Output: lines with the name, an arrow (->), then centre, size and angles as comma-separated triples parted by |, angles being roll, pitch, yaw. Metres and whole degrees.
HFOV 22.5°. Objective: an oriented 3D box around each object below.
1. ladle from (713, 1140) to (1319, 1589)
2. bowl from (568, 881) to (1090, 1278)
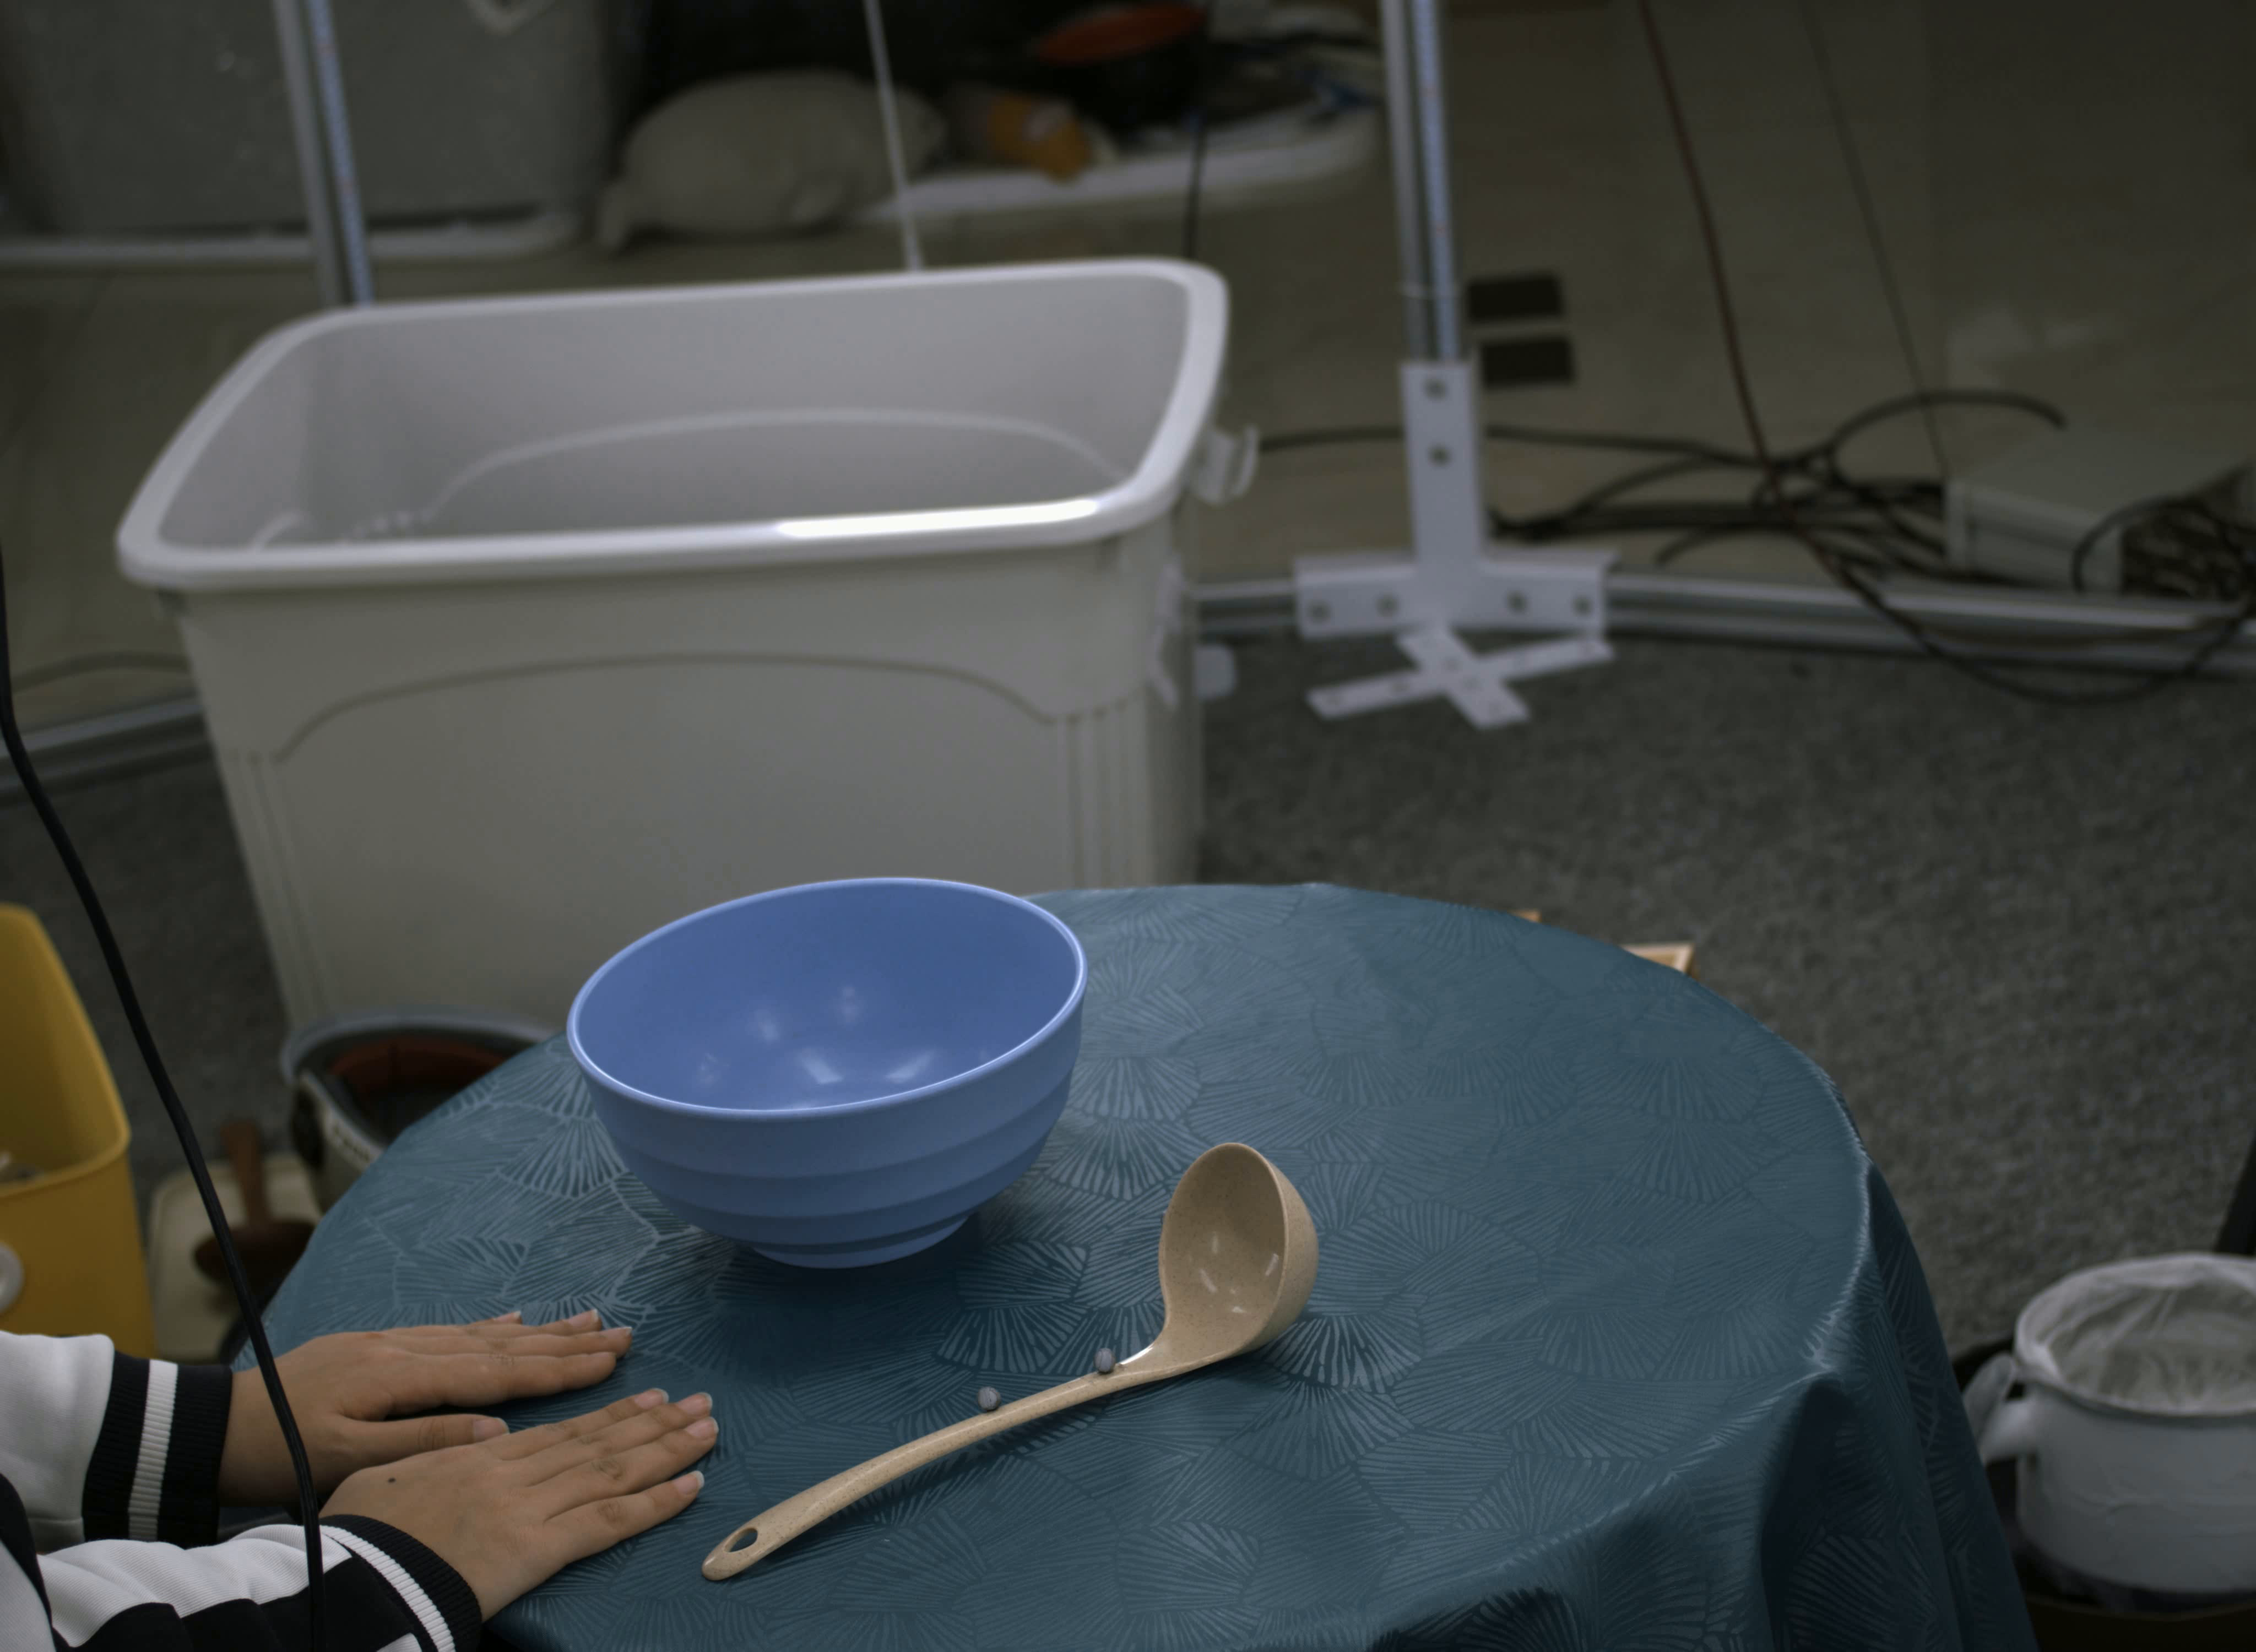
ladle -> -0.043, 0.183, 1.976 | 0.253, 0.074, 0.071 | -23, 29, -31
bowl -> -0.107, 0.107, 2.139 | 0.196, 0.097, 0.193 | -5, 27, 3
